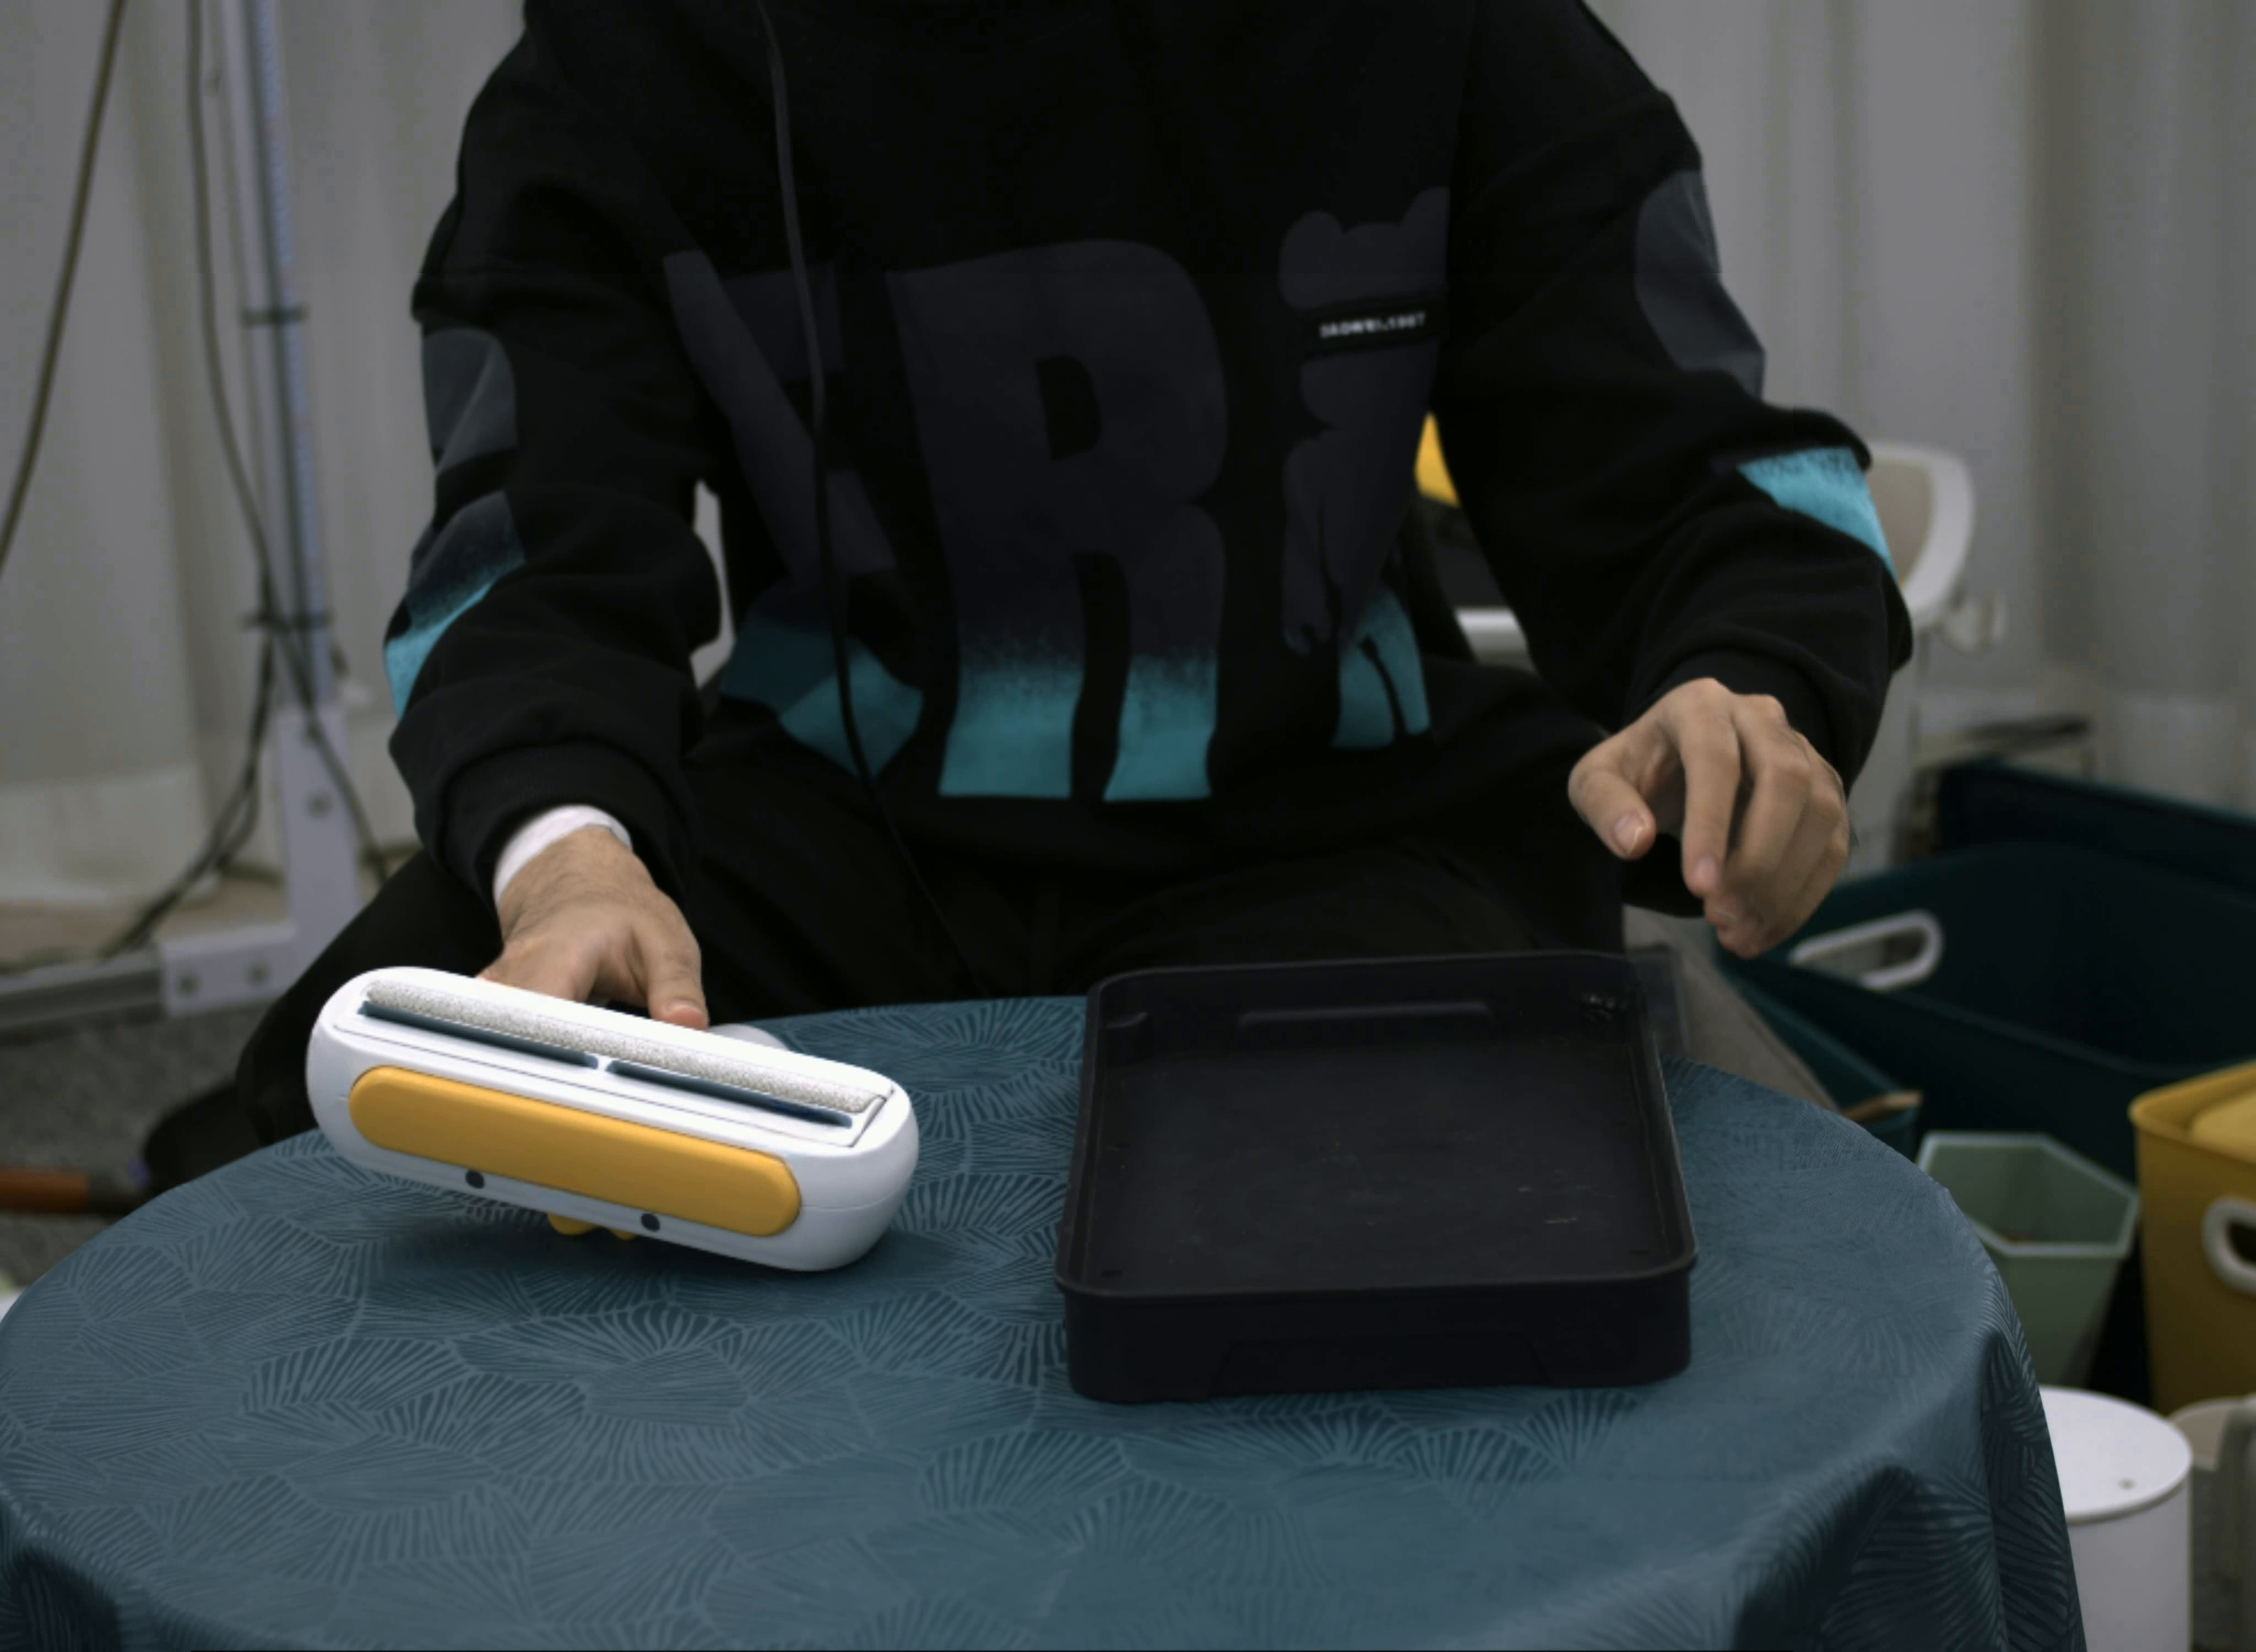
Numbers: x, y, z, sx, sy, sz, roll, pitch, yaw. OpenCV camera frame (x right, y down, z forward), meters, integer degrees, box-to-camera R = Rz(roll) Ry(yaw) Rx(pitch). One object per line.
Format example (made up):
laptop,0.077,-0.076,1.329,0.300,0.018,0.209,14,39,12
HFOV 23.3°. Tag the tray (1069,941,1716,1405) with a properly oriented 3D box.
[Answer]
tray,0.075,0.101,1.681,0.184,0.037,0.320,-3,15,1

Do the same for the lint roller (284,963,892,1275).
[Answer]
lint roller,-0.148,0.082,1.737,0.193,0.074,0.193,9,16,17
